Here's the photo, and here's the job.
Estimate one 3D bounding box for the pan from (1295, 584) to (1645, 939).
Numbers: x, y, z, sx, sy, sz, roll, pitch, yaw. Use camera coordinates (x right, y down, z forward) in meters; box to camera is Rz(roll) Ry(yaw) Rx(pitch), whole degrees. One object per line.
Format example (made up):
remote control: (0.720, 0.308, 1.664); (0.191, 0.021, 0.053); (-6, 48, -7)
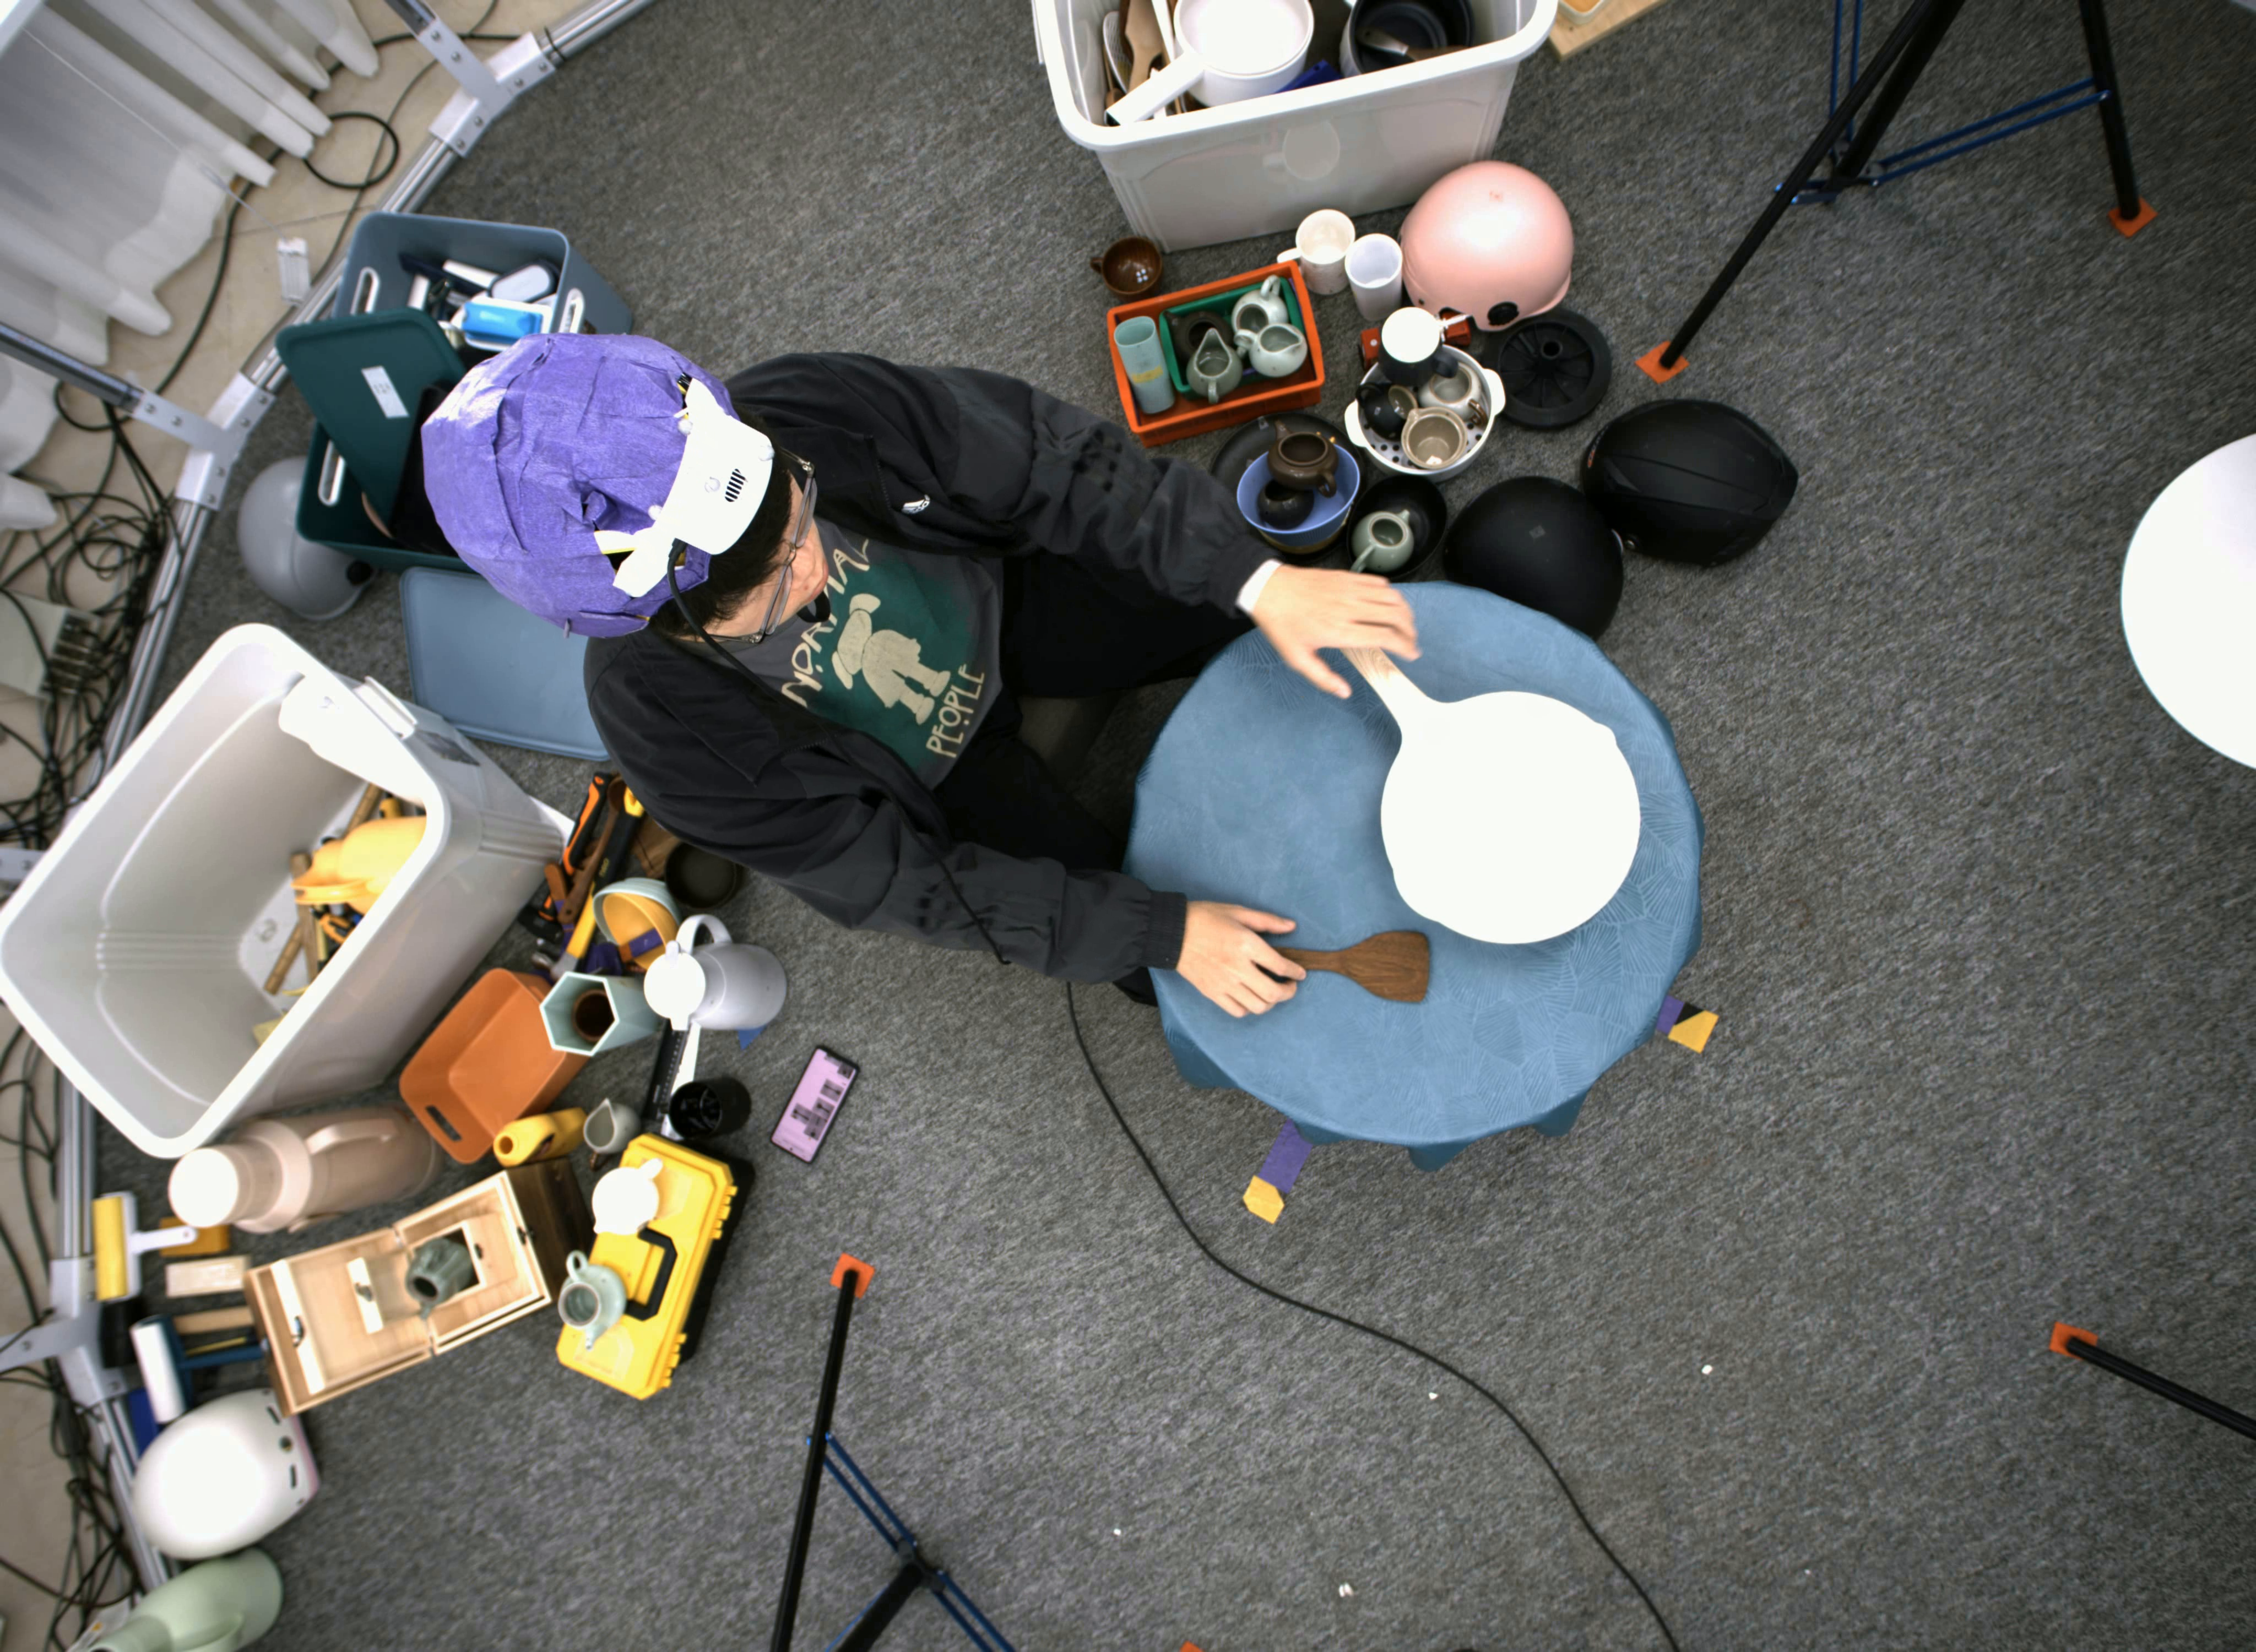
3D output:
pan: (0.328, -0.080, 1.405); (0.265, 0.102, 0.432); (-42, 80, 7)

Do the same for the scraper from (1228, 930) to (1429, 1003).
scraper: (0.210, 0.141, 1.462); (0.212, 0.011, 0.075); (3, 86, 11)
